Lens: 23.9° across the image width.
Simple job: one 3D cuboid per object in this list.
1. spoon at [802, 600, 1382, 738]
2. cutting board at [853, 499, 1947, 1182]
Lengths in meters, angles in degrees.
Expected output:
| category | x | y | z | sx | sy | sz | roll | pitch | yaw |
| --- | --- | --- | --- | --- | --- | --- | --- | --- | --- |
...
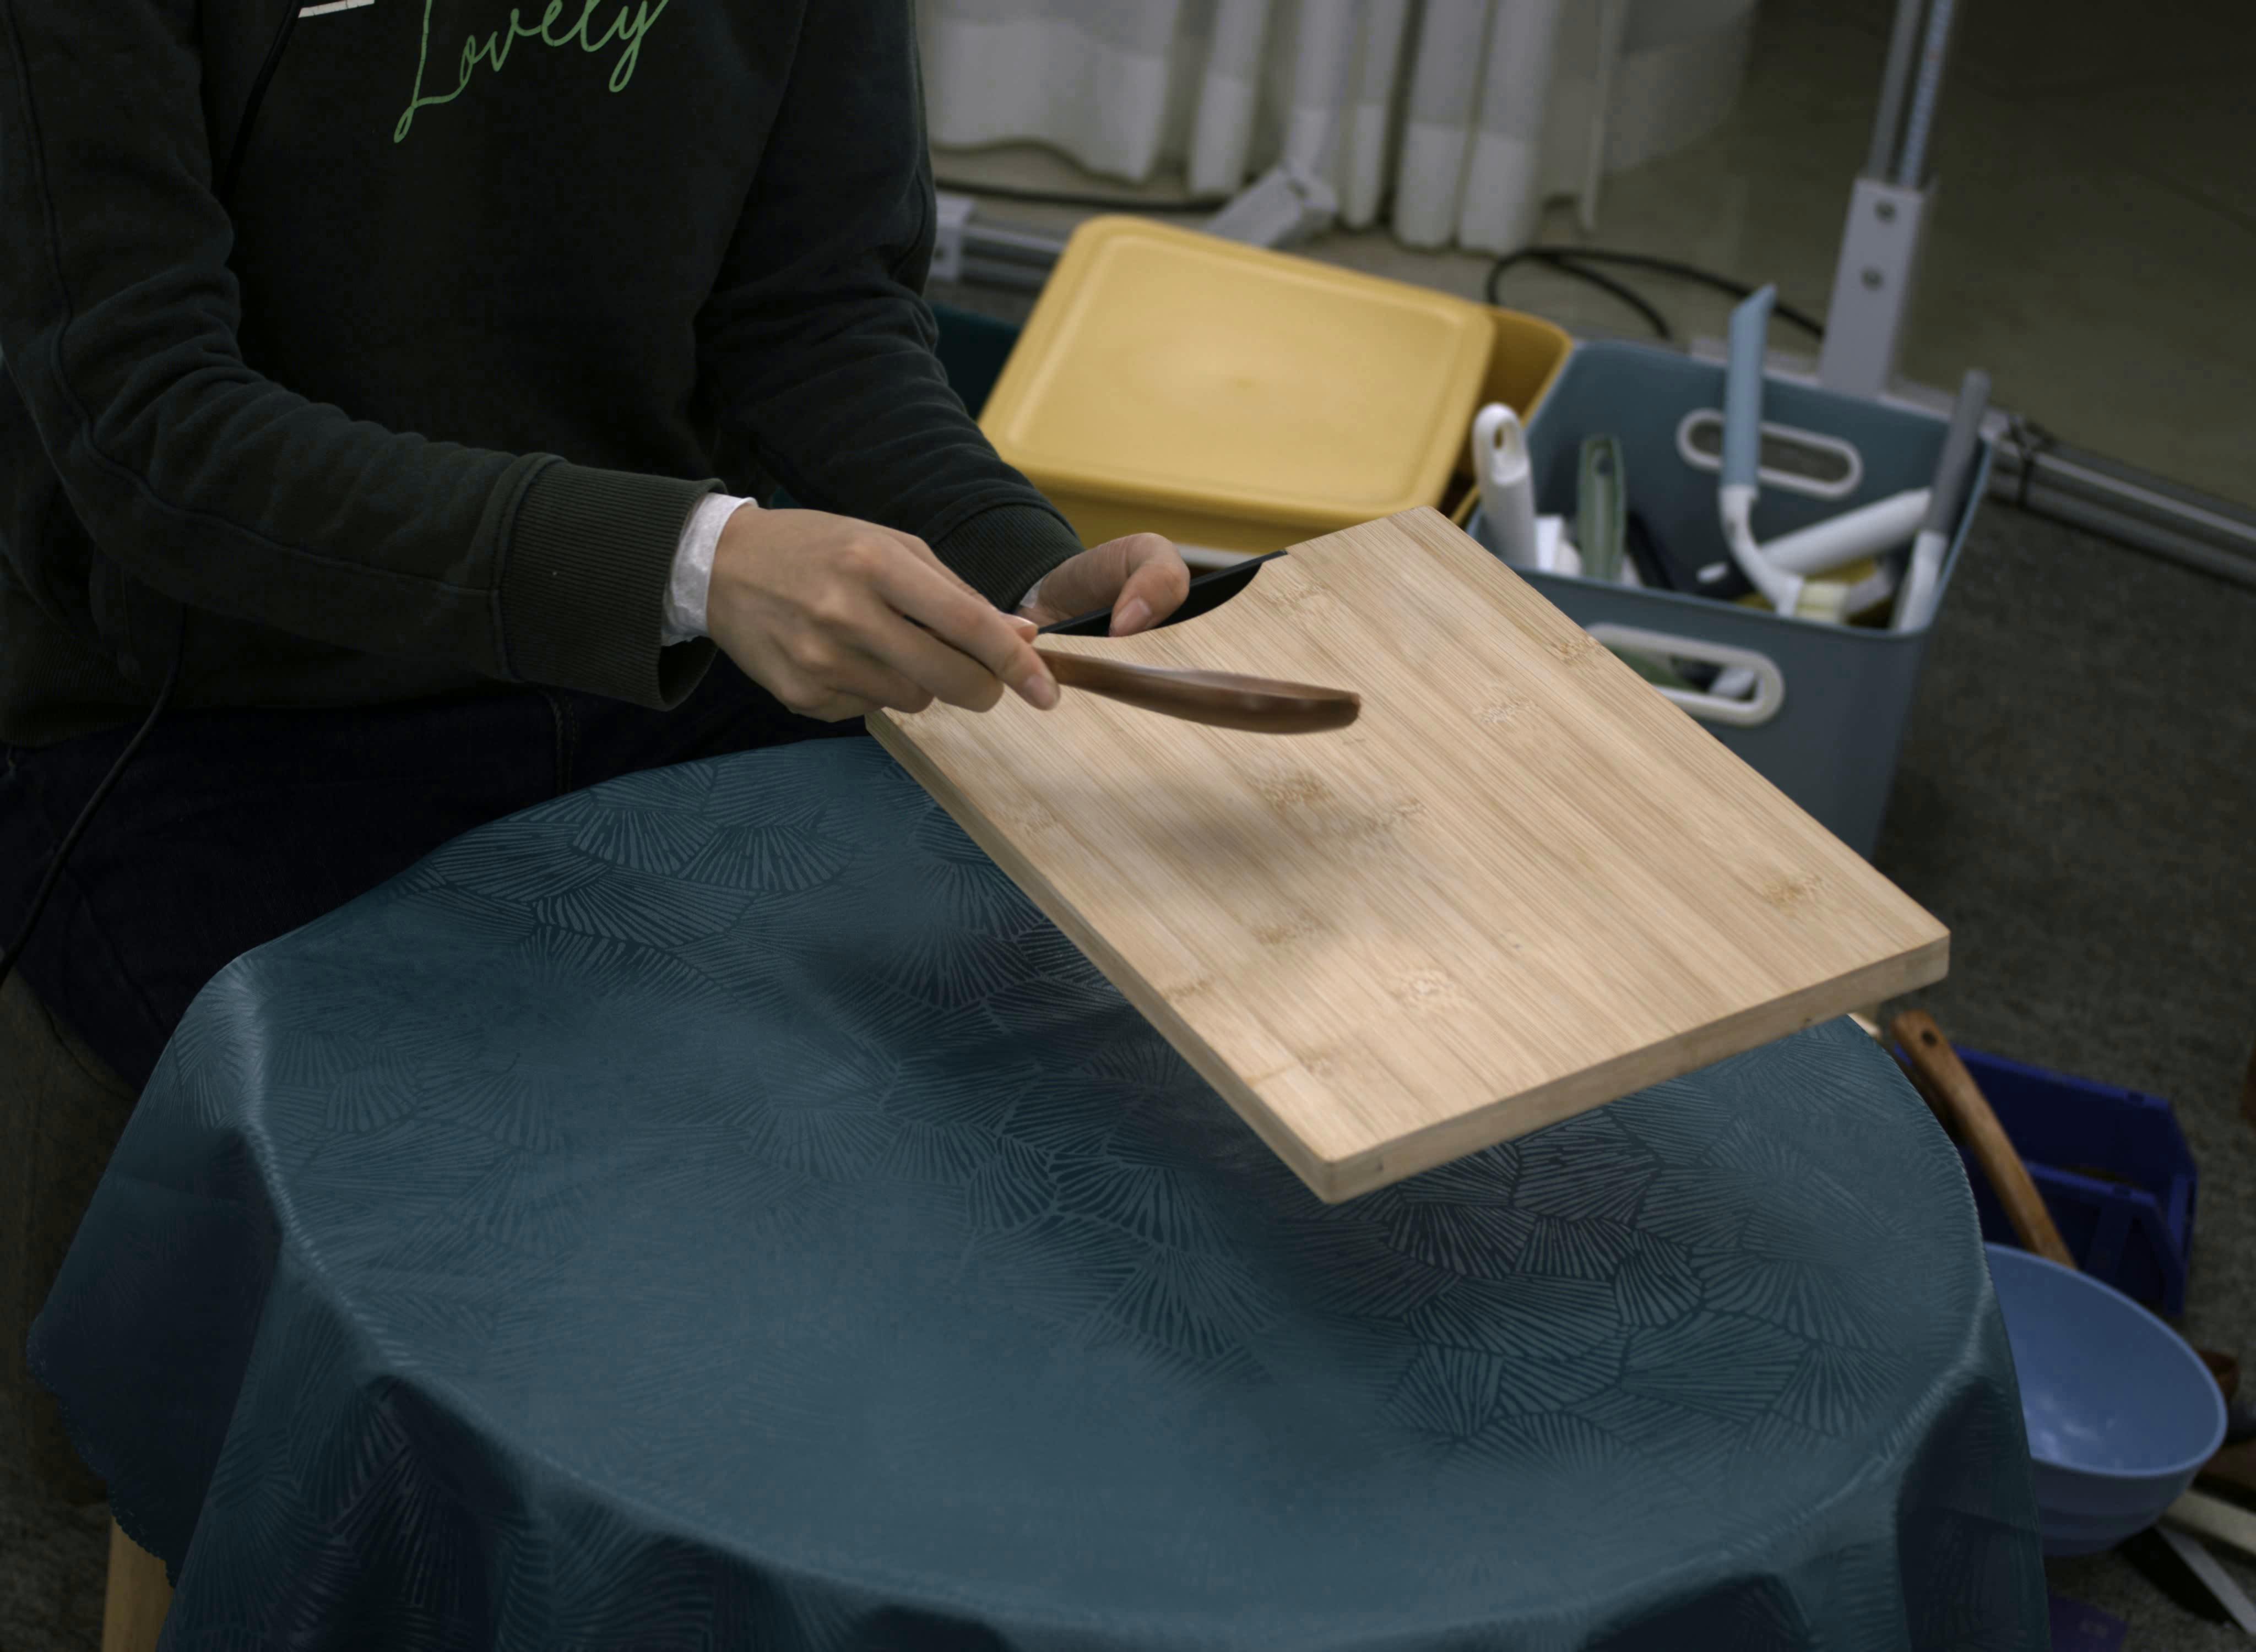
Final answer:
| category | x | y | z | sx | sy | sz | roll | pitch | yaw |
| --- | --- | --- | --- | --- | --- | --- | --- | --- | --- |
| spoon | -0.015 | -0.052 | 1.820 | 0.216 | 0.017 | 0.075 | 11 | 9 | 24 |
| cutting board | 0.085 | -0.004 | 1.843 | 0.249 | 0.023 | 0.352 | -18 | 35 | -22 |
